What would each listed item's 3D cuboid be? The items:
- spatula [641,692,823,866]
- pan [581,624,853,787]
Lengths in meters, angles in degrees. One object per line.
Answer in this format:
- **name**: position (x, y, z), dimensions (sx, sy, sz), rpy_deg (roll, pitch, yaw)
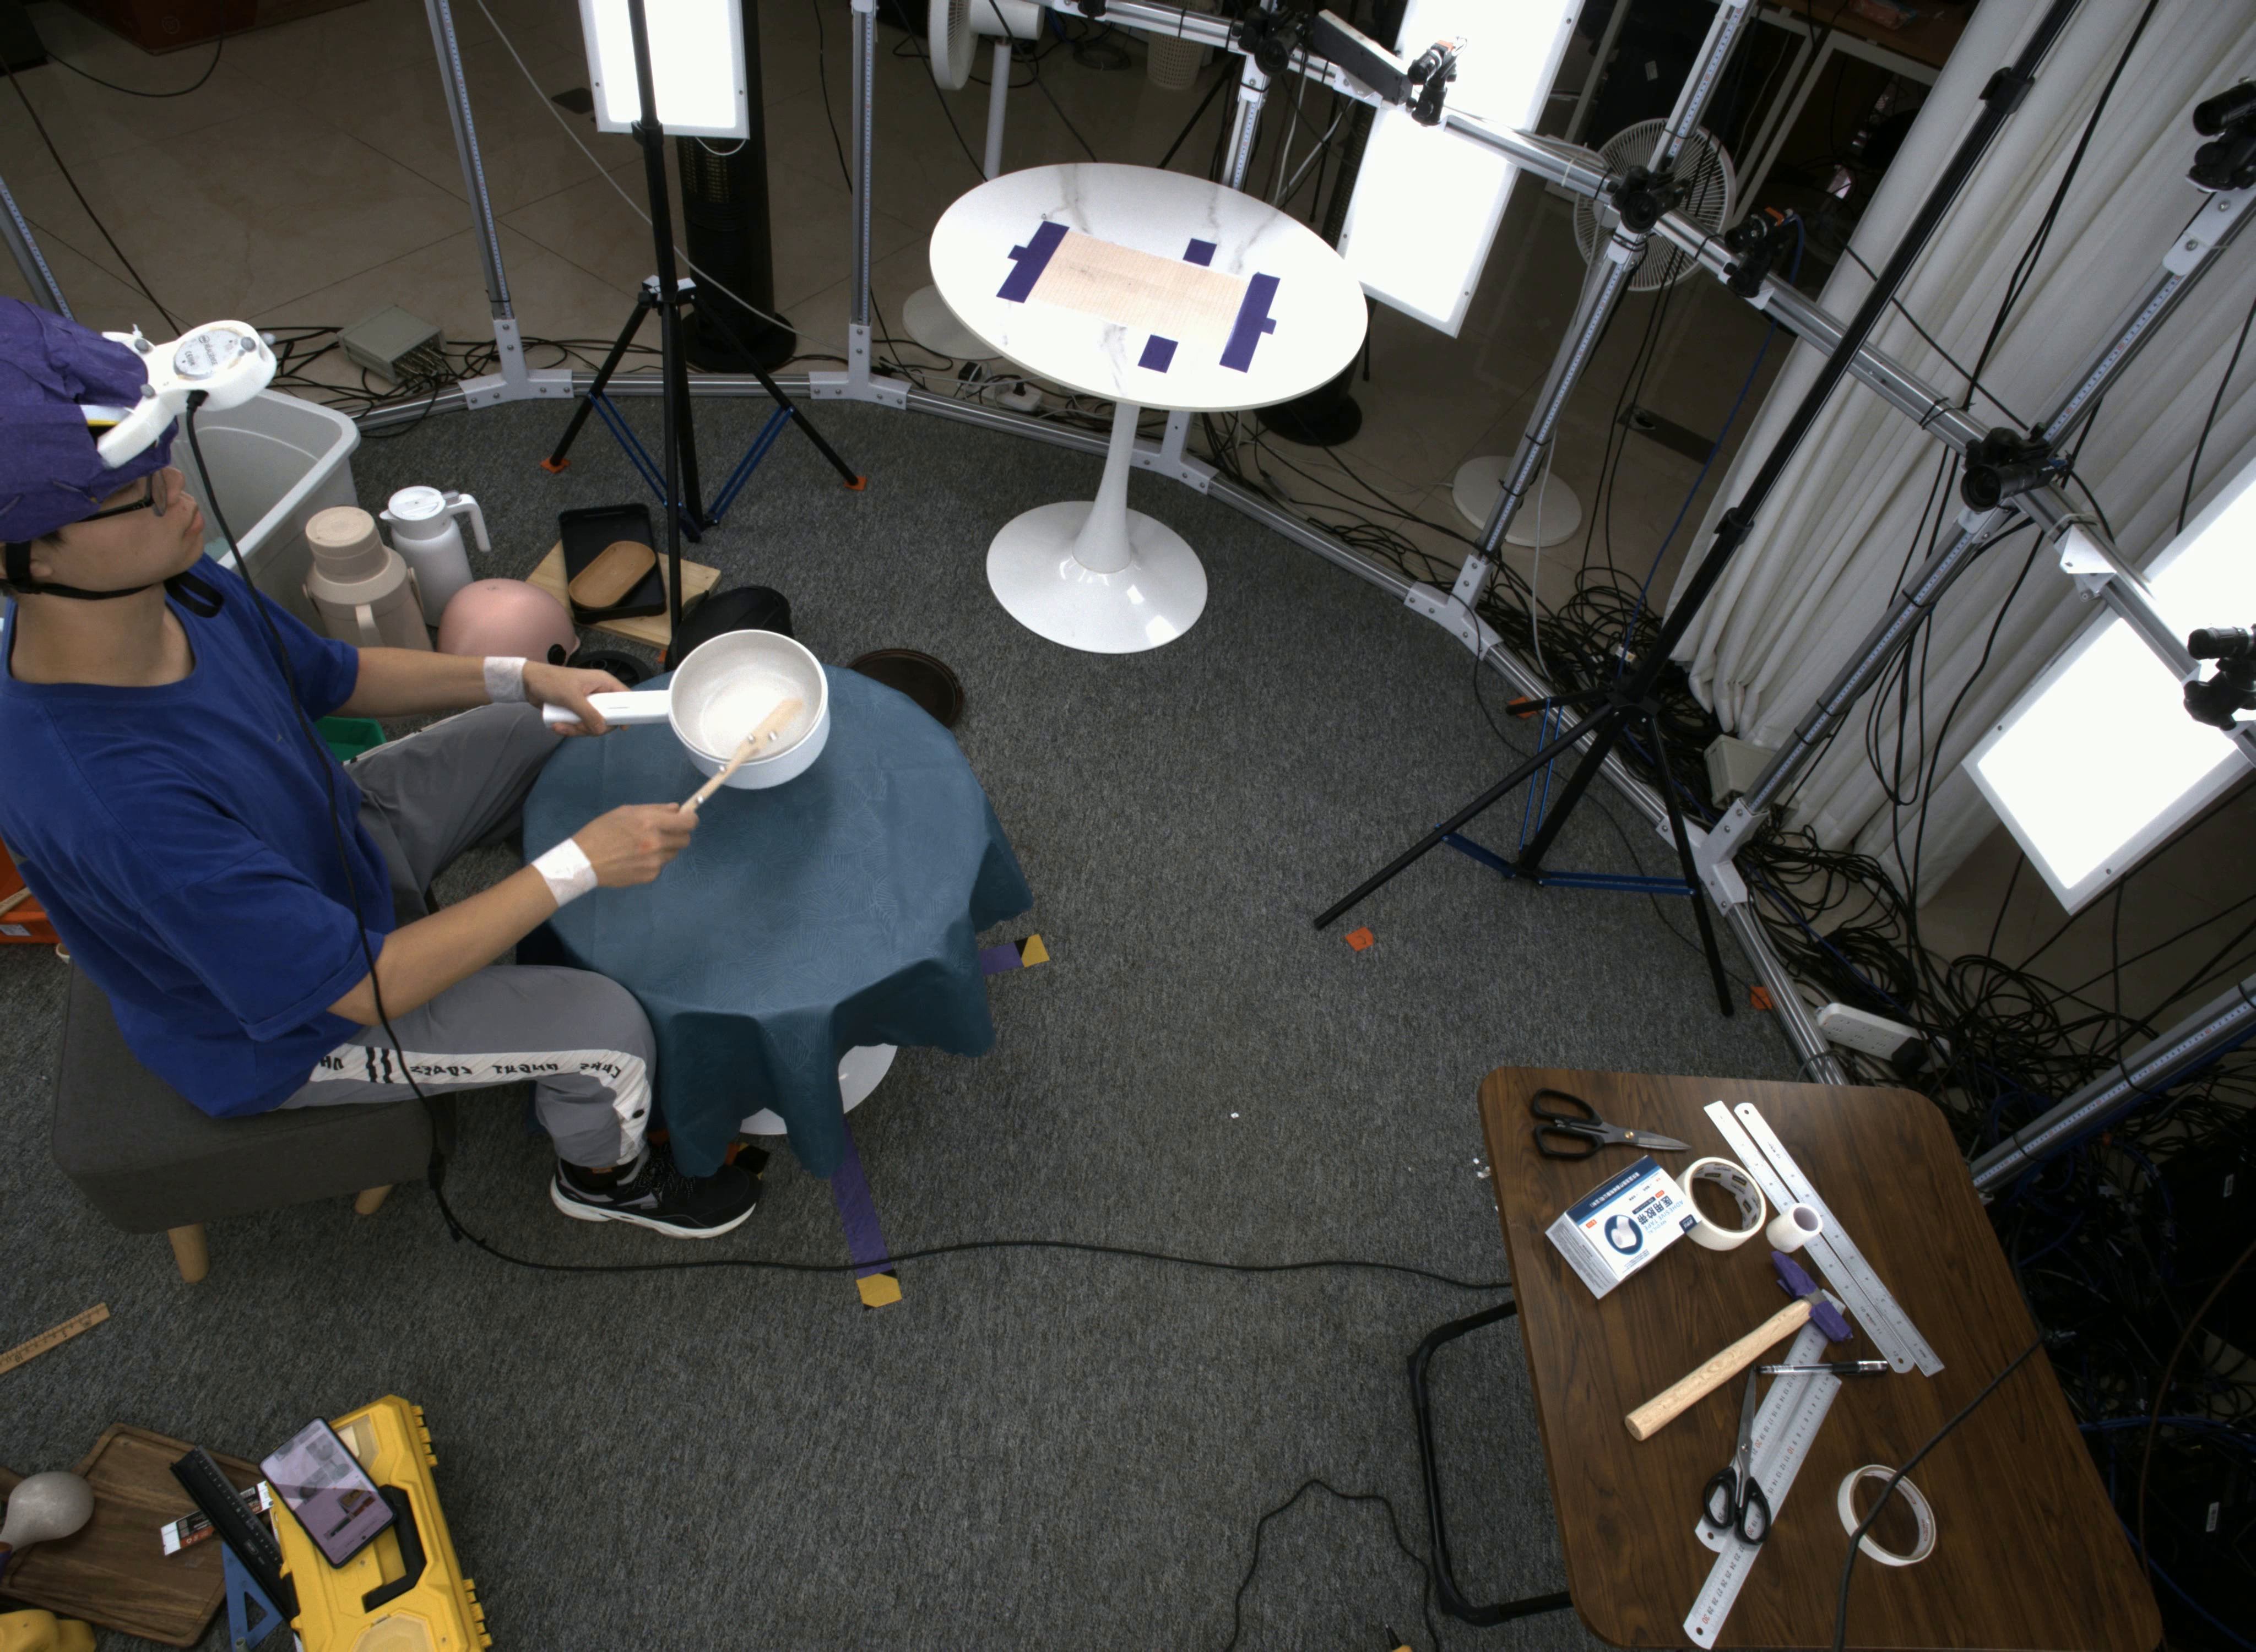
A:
- **spatula**: position (-0.471, -0.059, 1.531), dimensions (0.293, 0.070, 0.011), rpy_deg (-50, 118, -23)
- **pan**: position (-0.537, -0.149, 1.682), dimensions (0.353, 0.103, 0.199), rpy_deg (-3, 69, -9)
